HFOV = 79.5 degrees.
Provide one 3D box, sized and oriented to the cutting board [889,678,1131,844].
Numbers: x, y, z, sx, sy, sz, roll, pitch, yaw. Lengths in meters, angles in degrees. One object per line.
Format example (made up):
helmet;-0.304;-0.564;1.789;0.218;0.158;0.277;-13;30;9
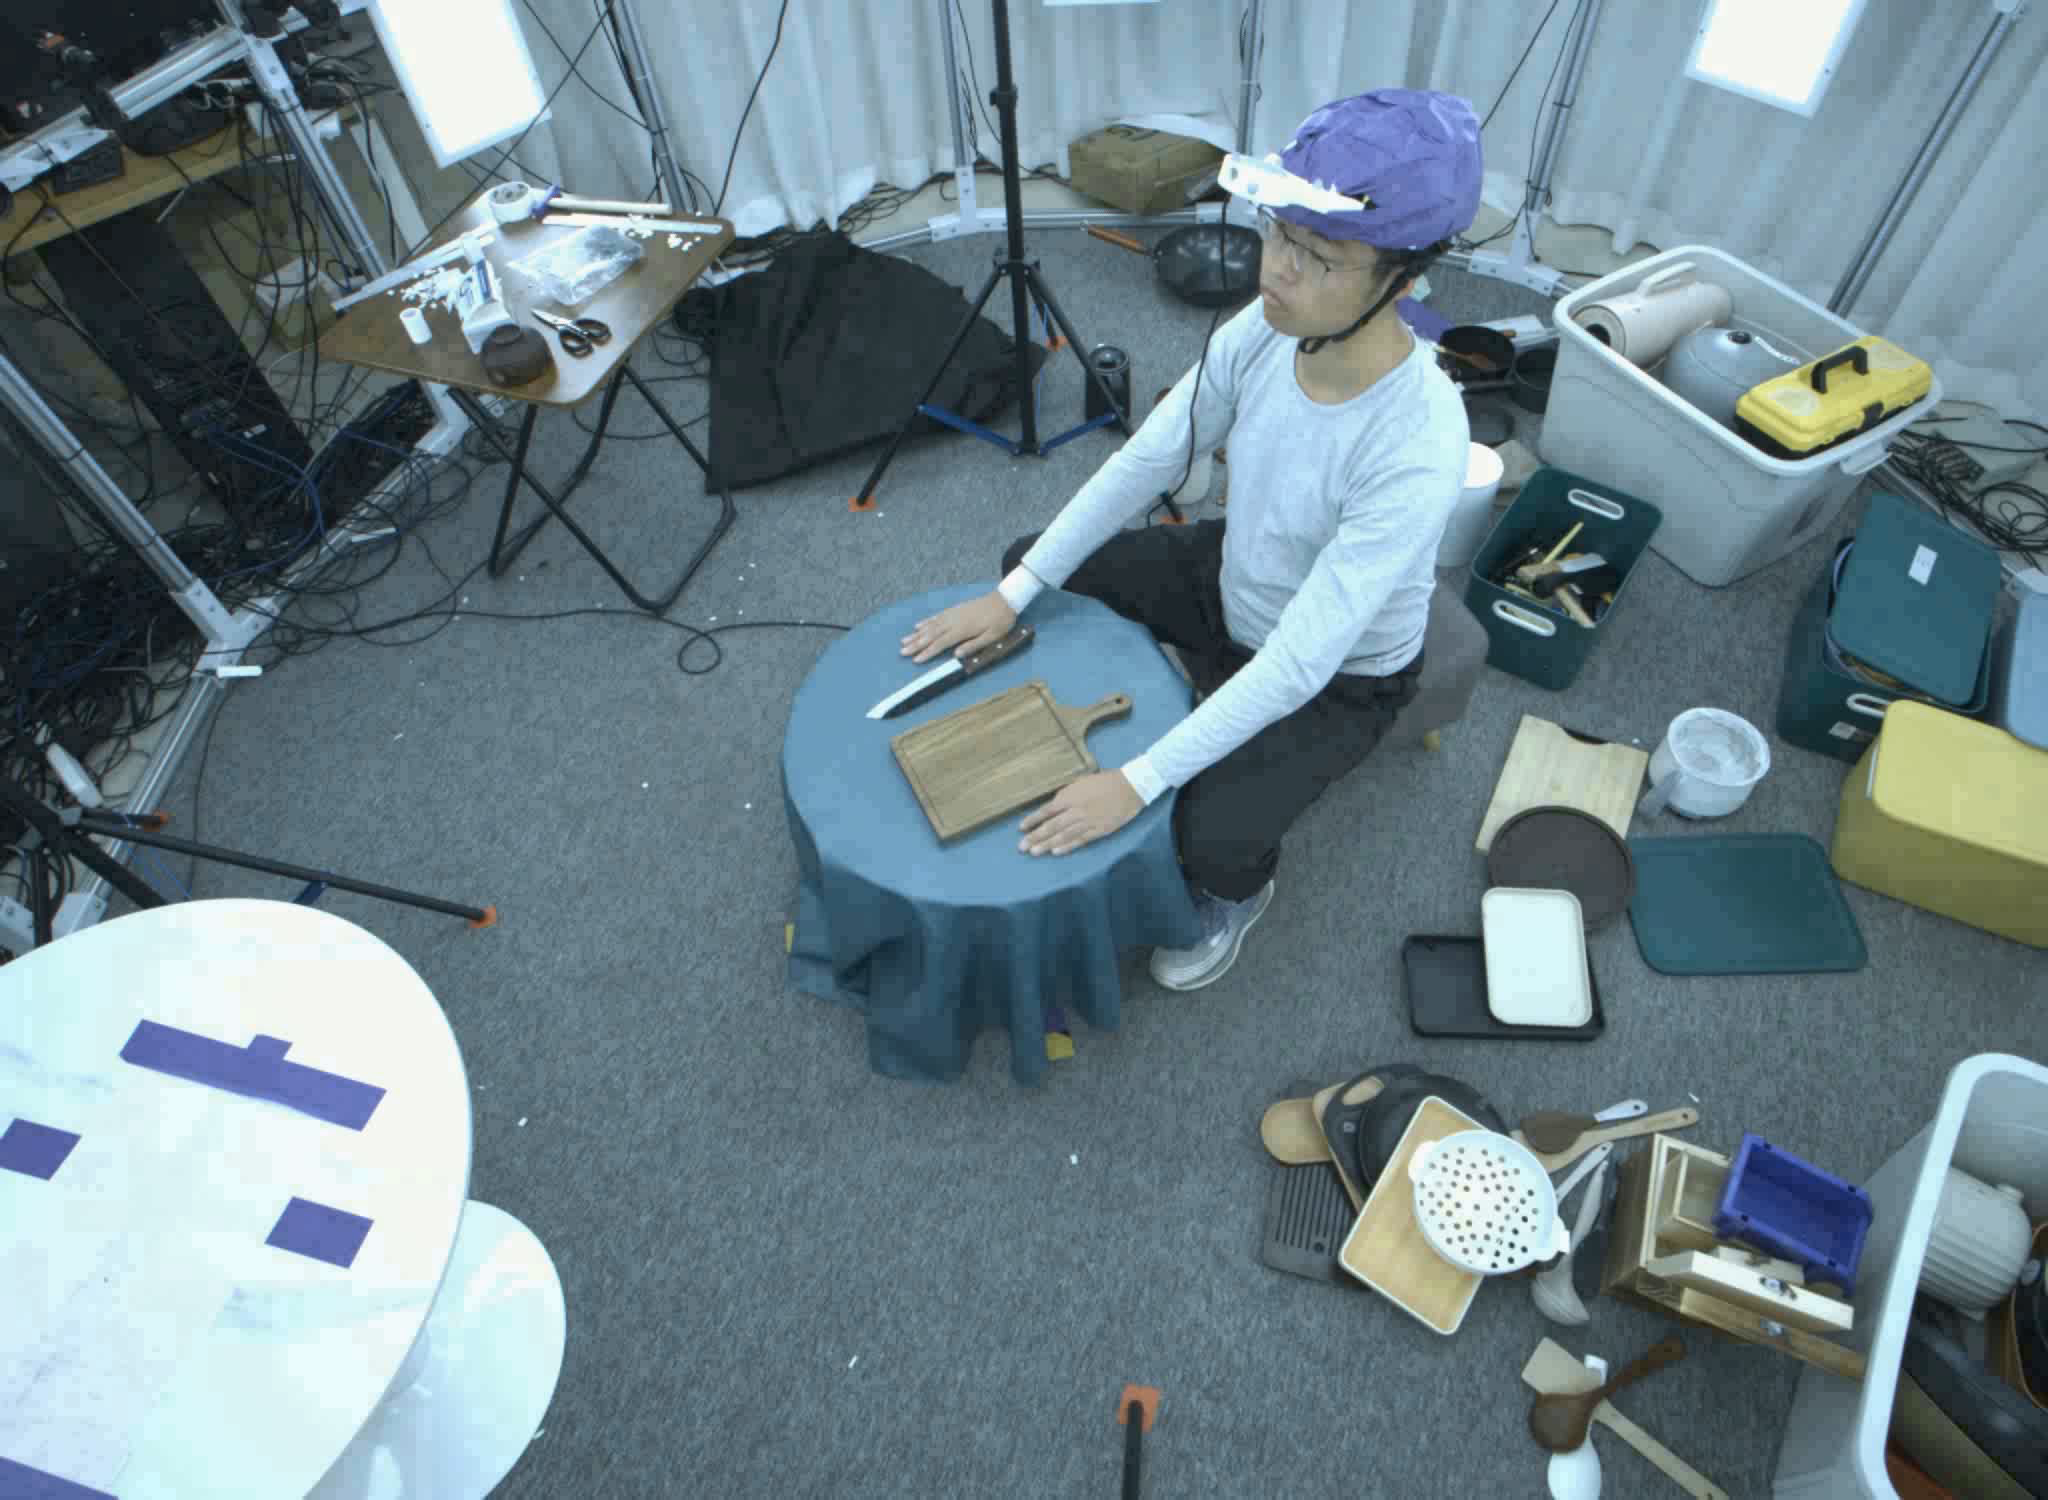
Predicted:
cutting board;0.000;-0.008;1.789;0.355;0.023;0.197;-23;58;-14

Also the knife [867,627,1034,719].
knife;-0.111;-0.116;1.872;0.291;0.020;0.049;-29;53;-15
